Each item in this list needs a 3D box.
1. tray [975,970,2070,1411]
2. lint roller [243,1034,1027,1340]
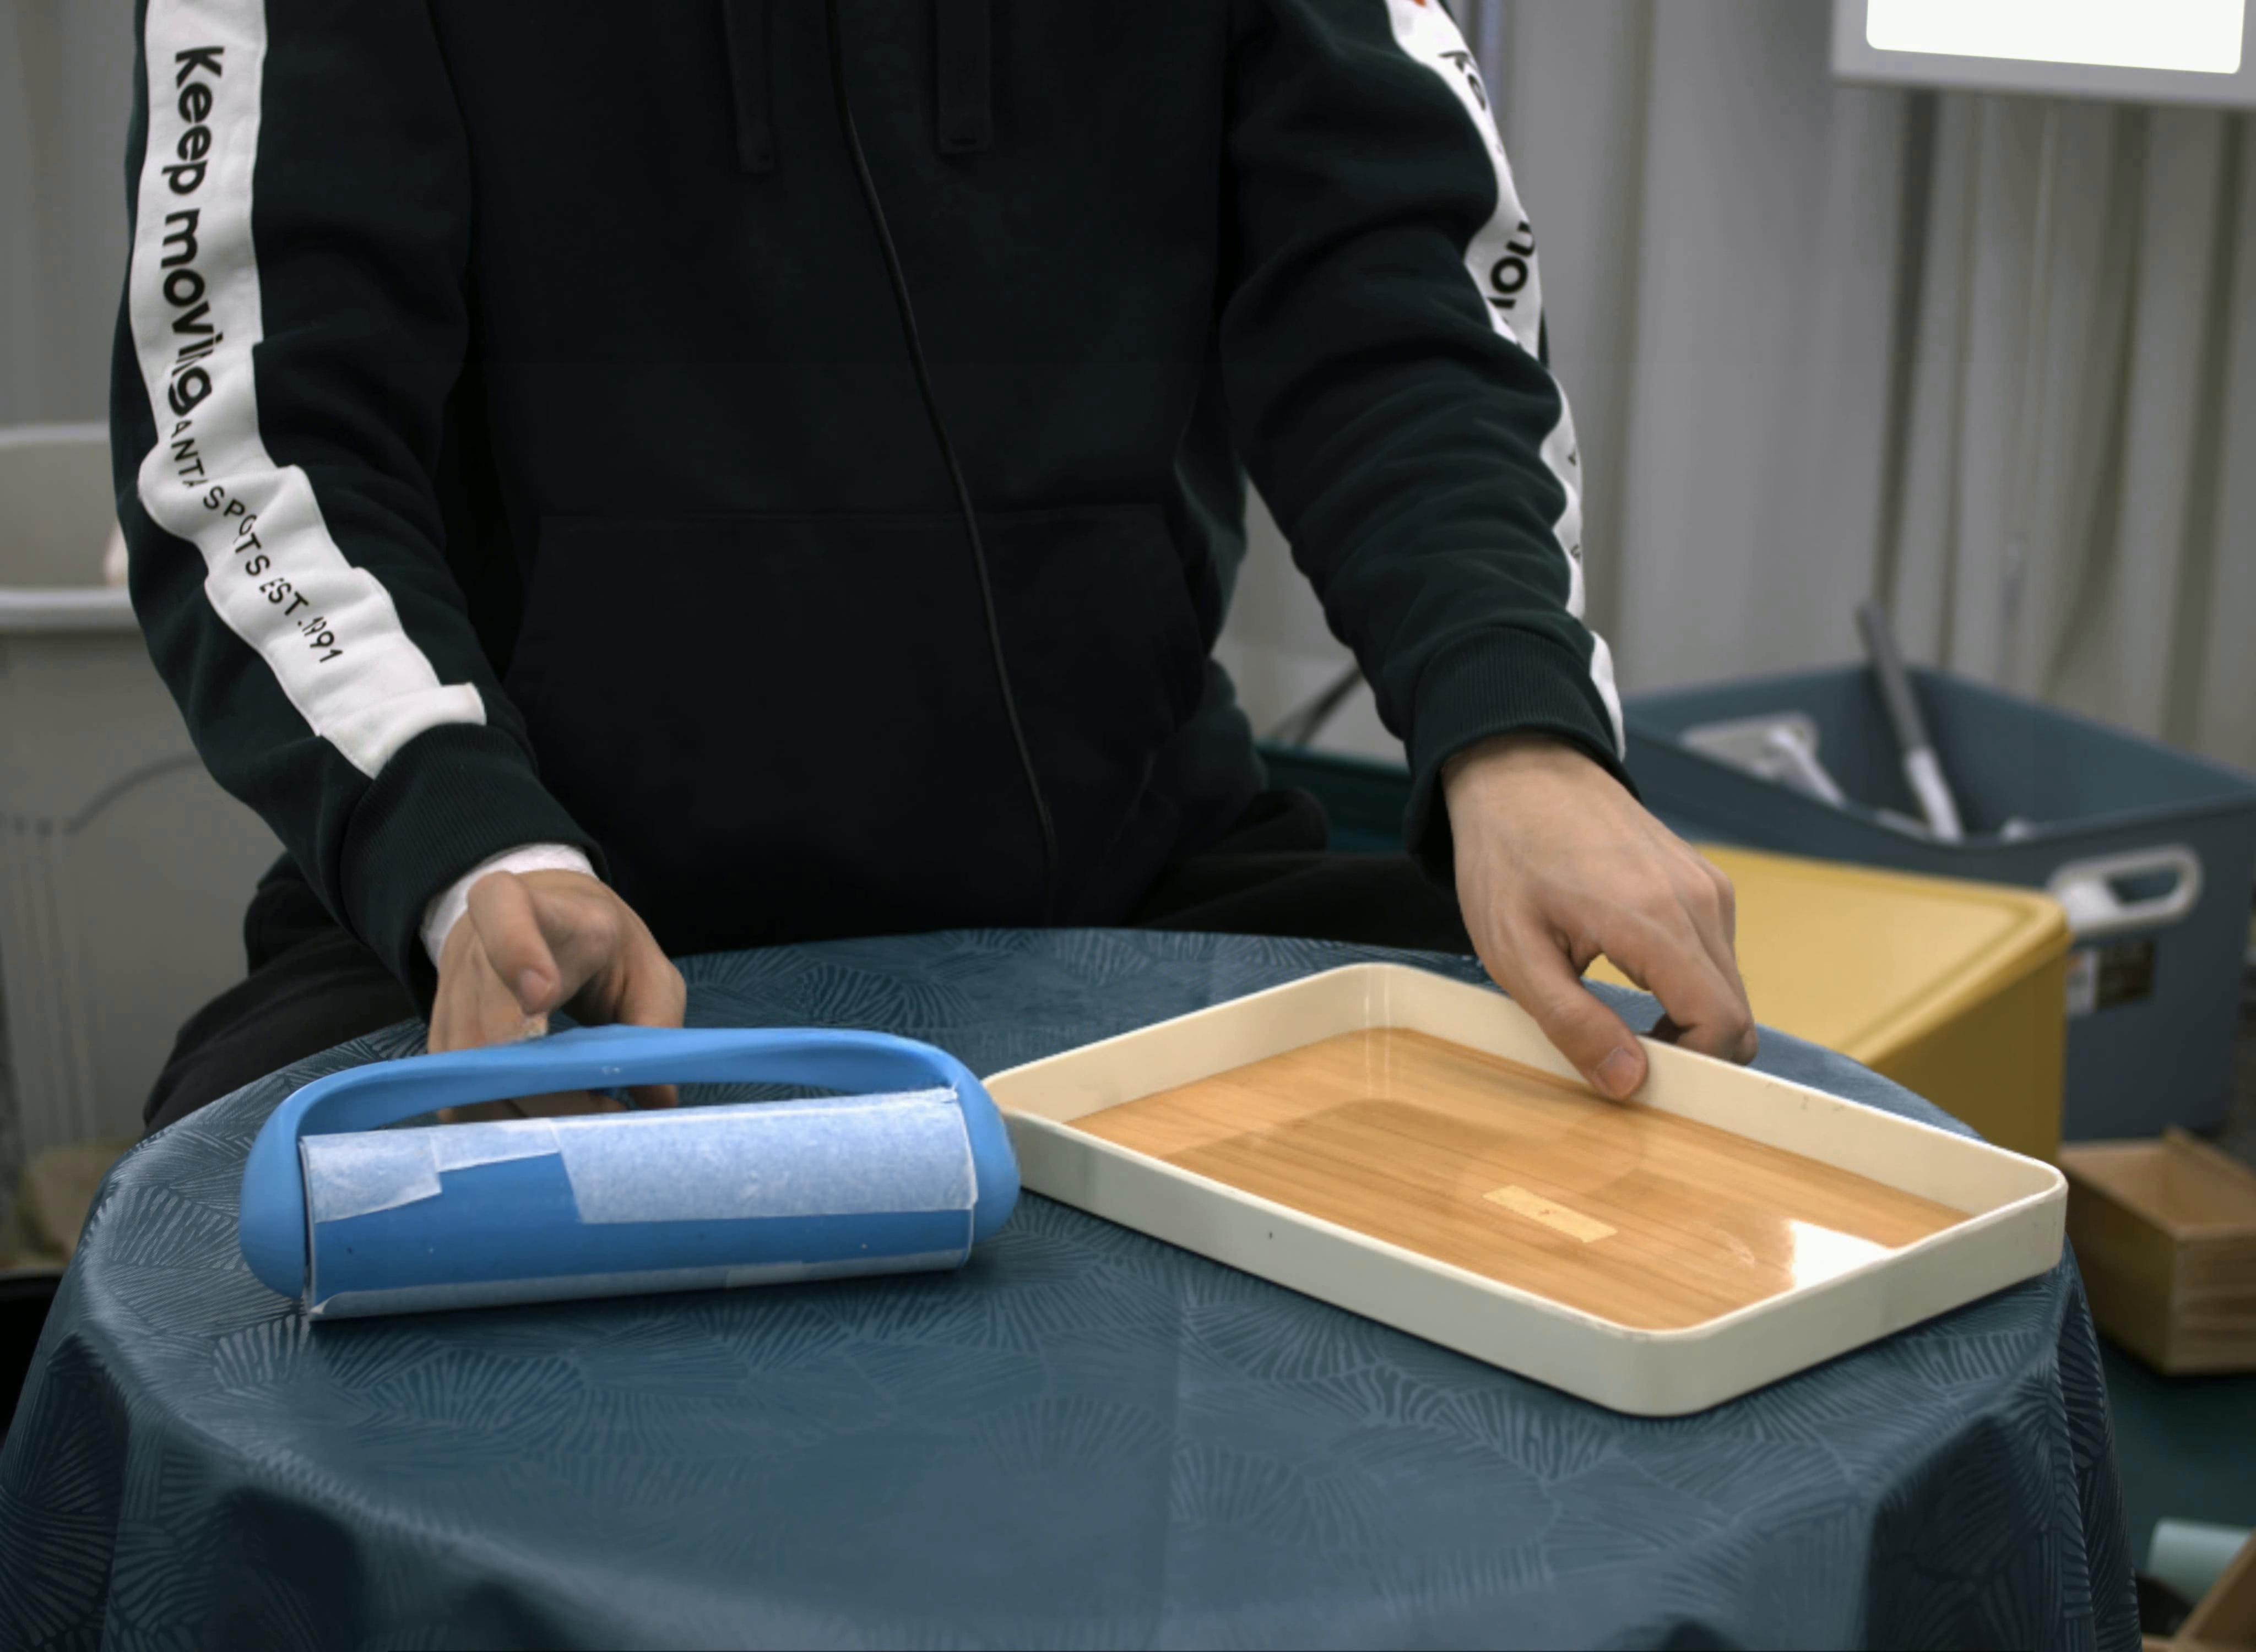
[{"bbox_3d":[0.114,0.105,1.594,0.192,0.027,0.296,-14,21,-41],"label":"tray"},{"bbox_3d":[-0.159,0.094,1.576,0.229,0.068,0.178,-7,18,-17],"label":"lint roller"}]
